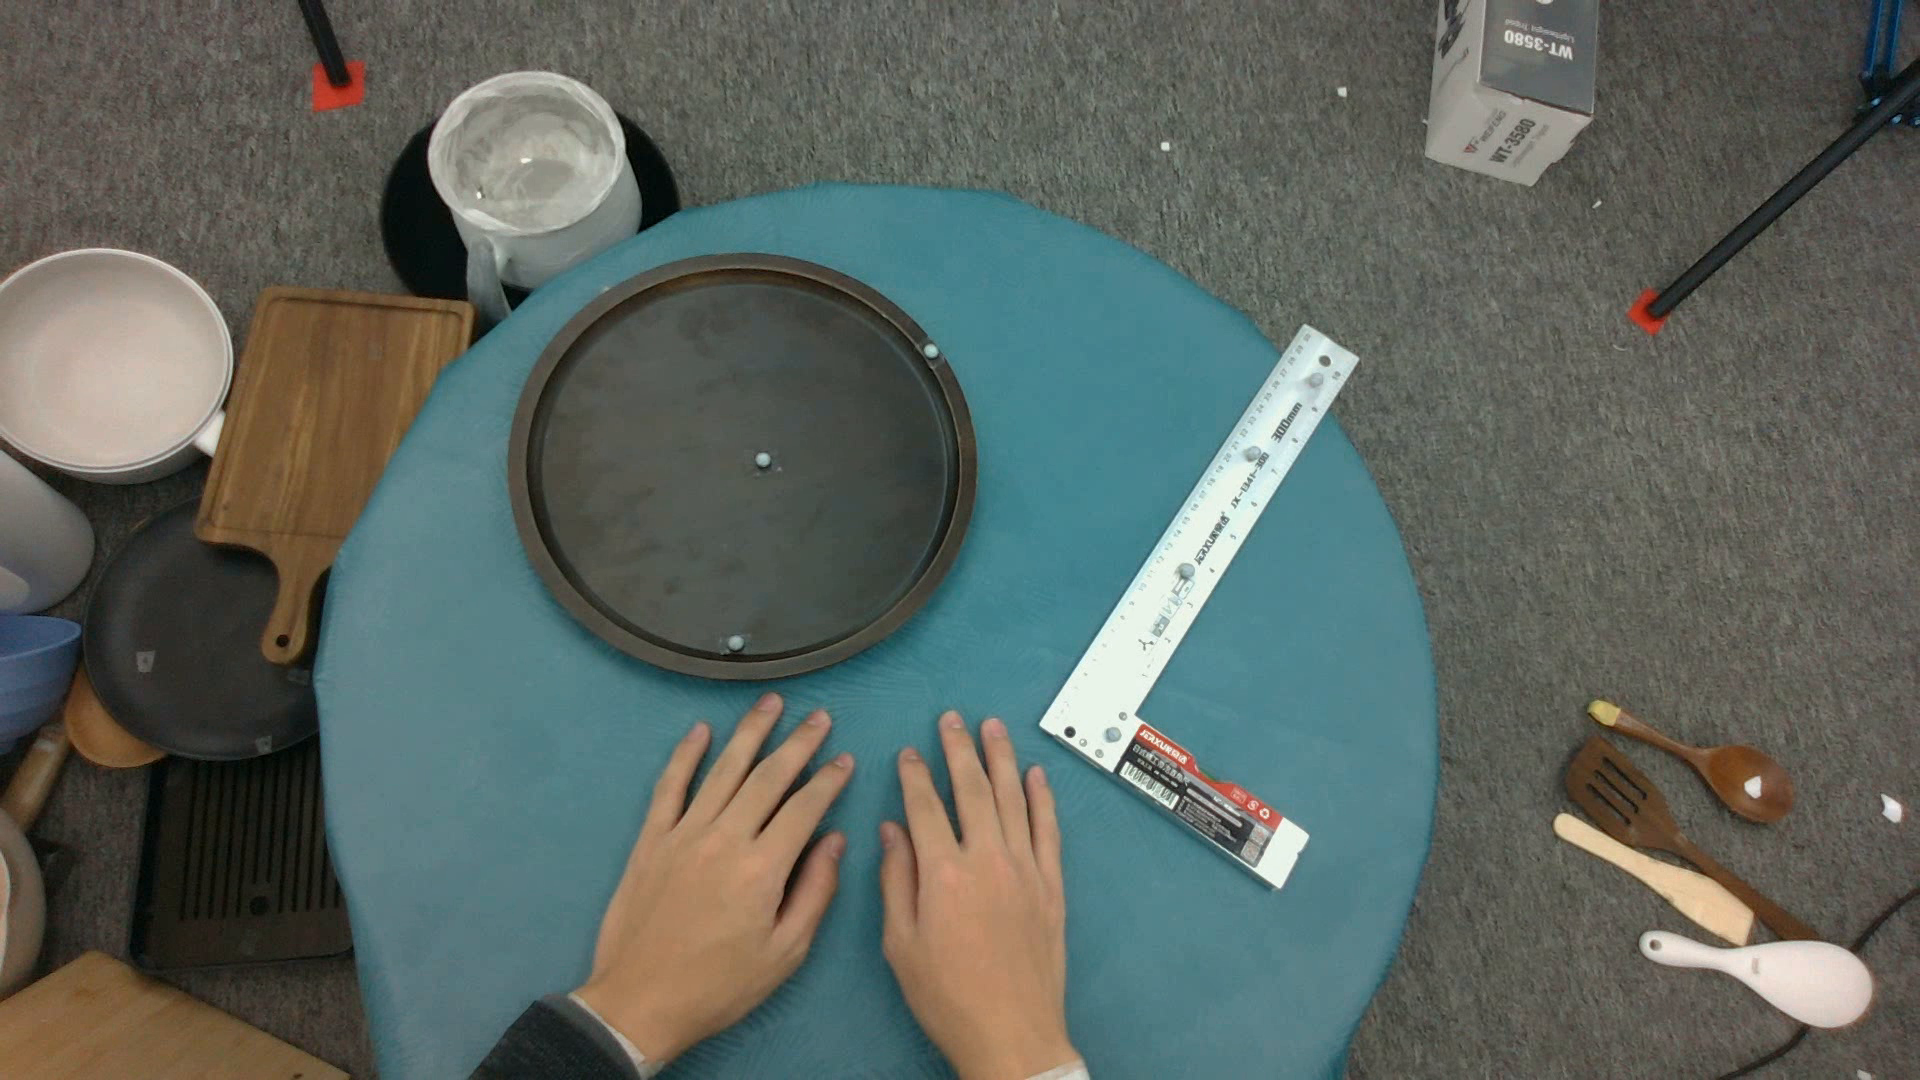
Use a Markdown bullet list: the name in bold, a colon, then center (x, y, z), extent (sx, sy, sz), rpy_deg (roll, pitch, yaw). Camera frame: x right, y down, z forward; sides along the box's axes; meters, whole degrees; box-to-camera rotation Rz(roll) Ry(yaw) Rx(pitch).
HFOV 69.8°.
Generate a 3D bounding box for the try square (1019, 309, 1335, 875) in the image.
- **try square**: center (0.175, 0.018, 0.786), extent (0.152, 0.016, 0.314), rpy_deg (34, 68, 3)

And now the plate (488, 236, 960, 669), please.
- **plate**: center (-0.126, -0.051, 0.755), extent (0.255, 0.029, 0.255), rpy_deg (3, 69, -8)
